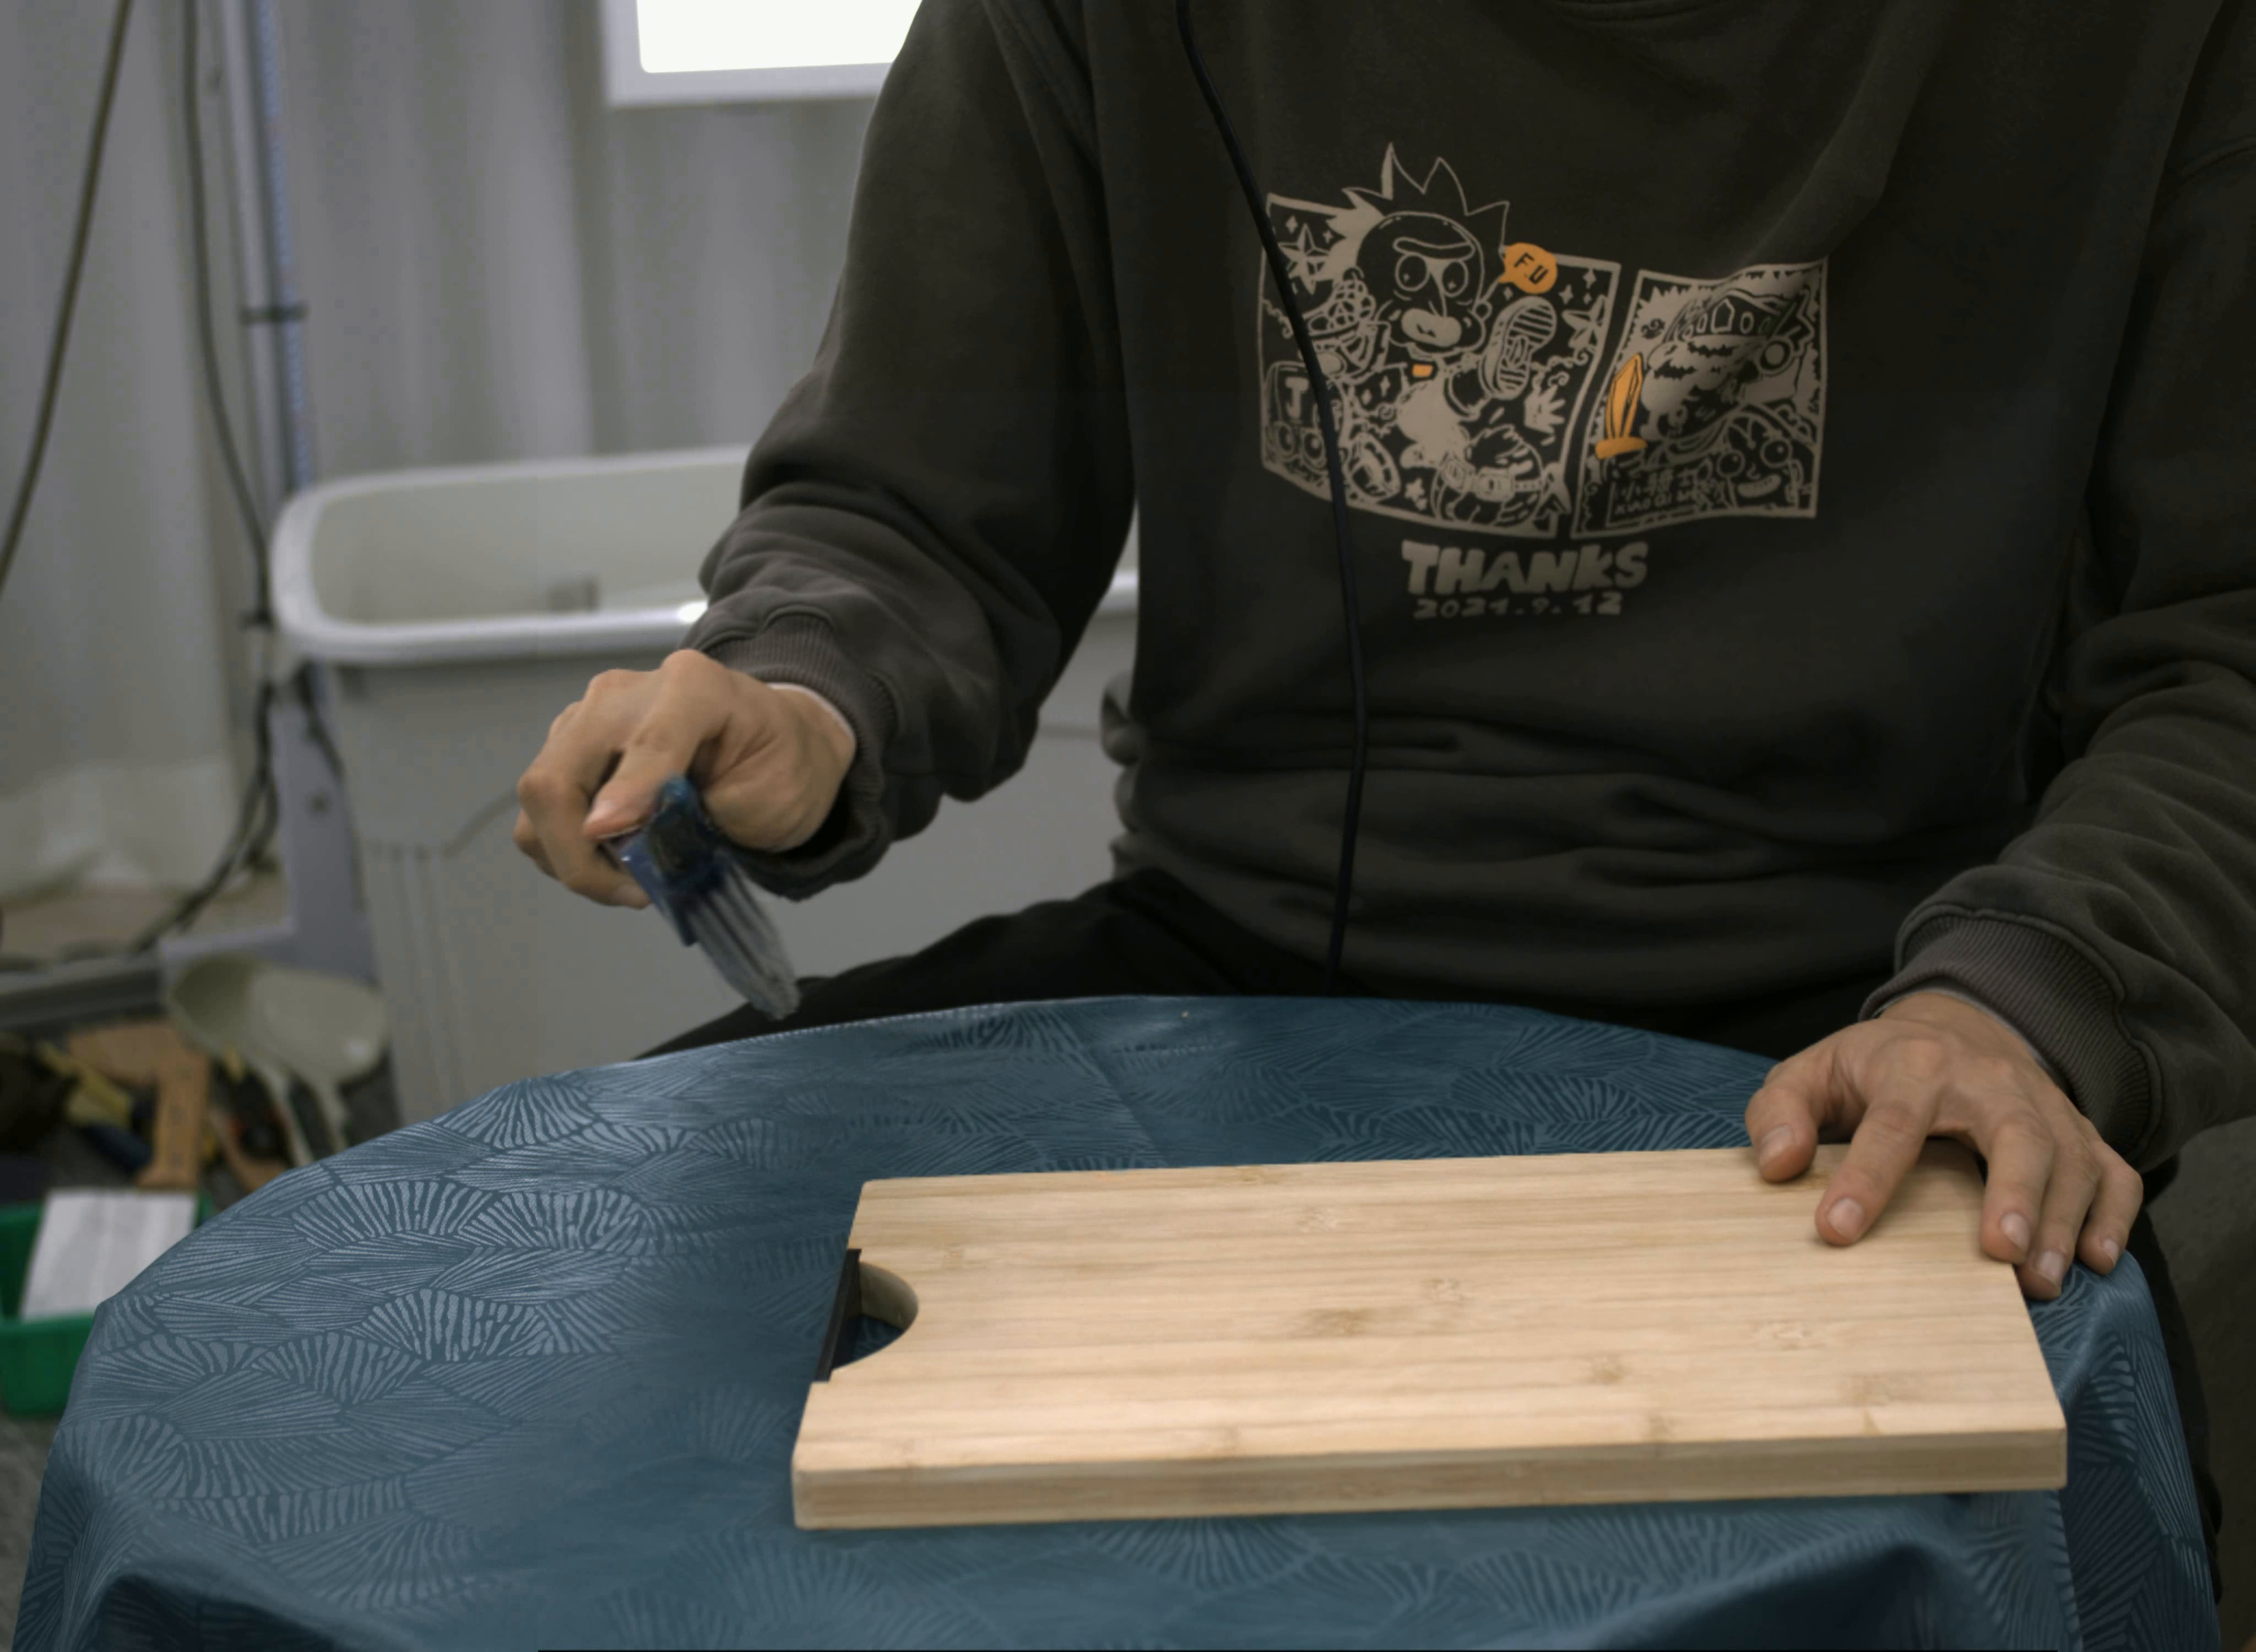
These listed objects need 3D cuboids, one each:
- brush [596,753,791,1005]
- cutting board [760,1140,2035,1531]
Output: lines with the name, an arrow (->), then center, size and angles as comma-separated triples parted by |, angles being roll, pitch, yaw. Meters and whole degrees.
brush -> -0.141, 0.001, 1.646 | 0.033, 0.095, 0.275 | -36, 15, -6
cutting board -> 0.077, 0.144, 1.568 | 0.347, 0.023, 0.252 | -2, 15, 2
